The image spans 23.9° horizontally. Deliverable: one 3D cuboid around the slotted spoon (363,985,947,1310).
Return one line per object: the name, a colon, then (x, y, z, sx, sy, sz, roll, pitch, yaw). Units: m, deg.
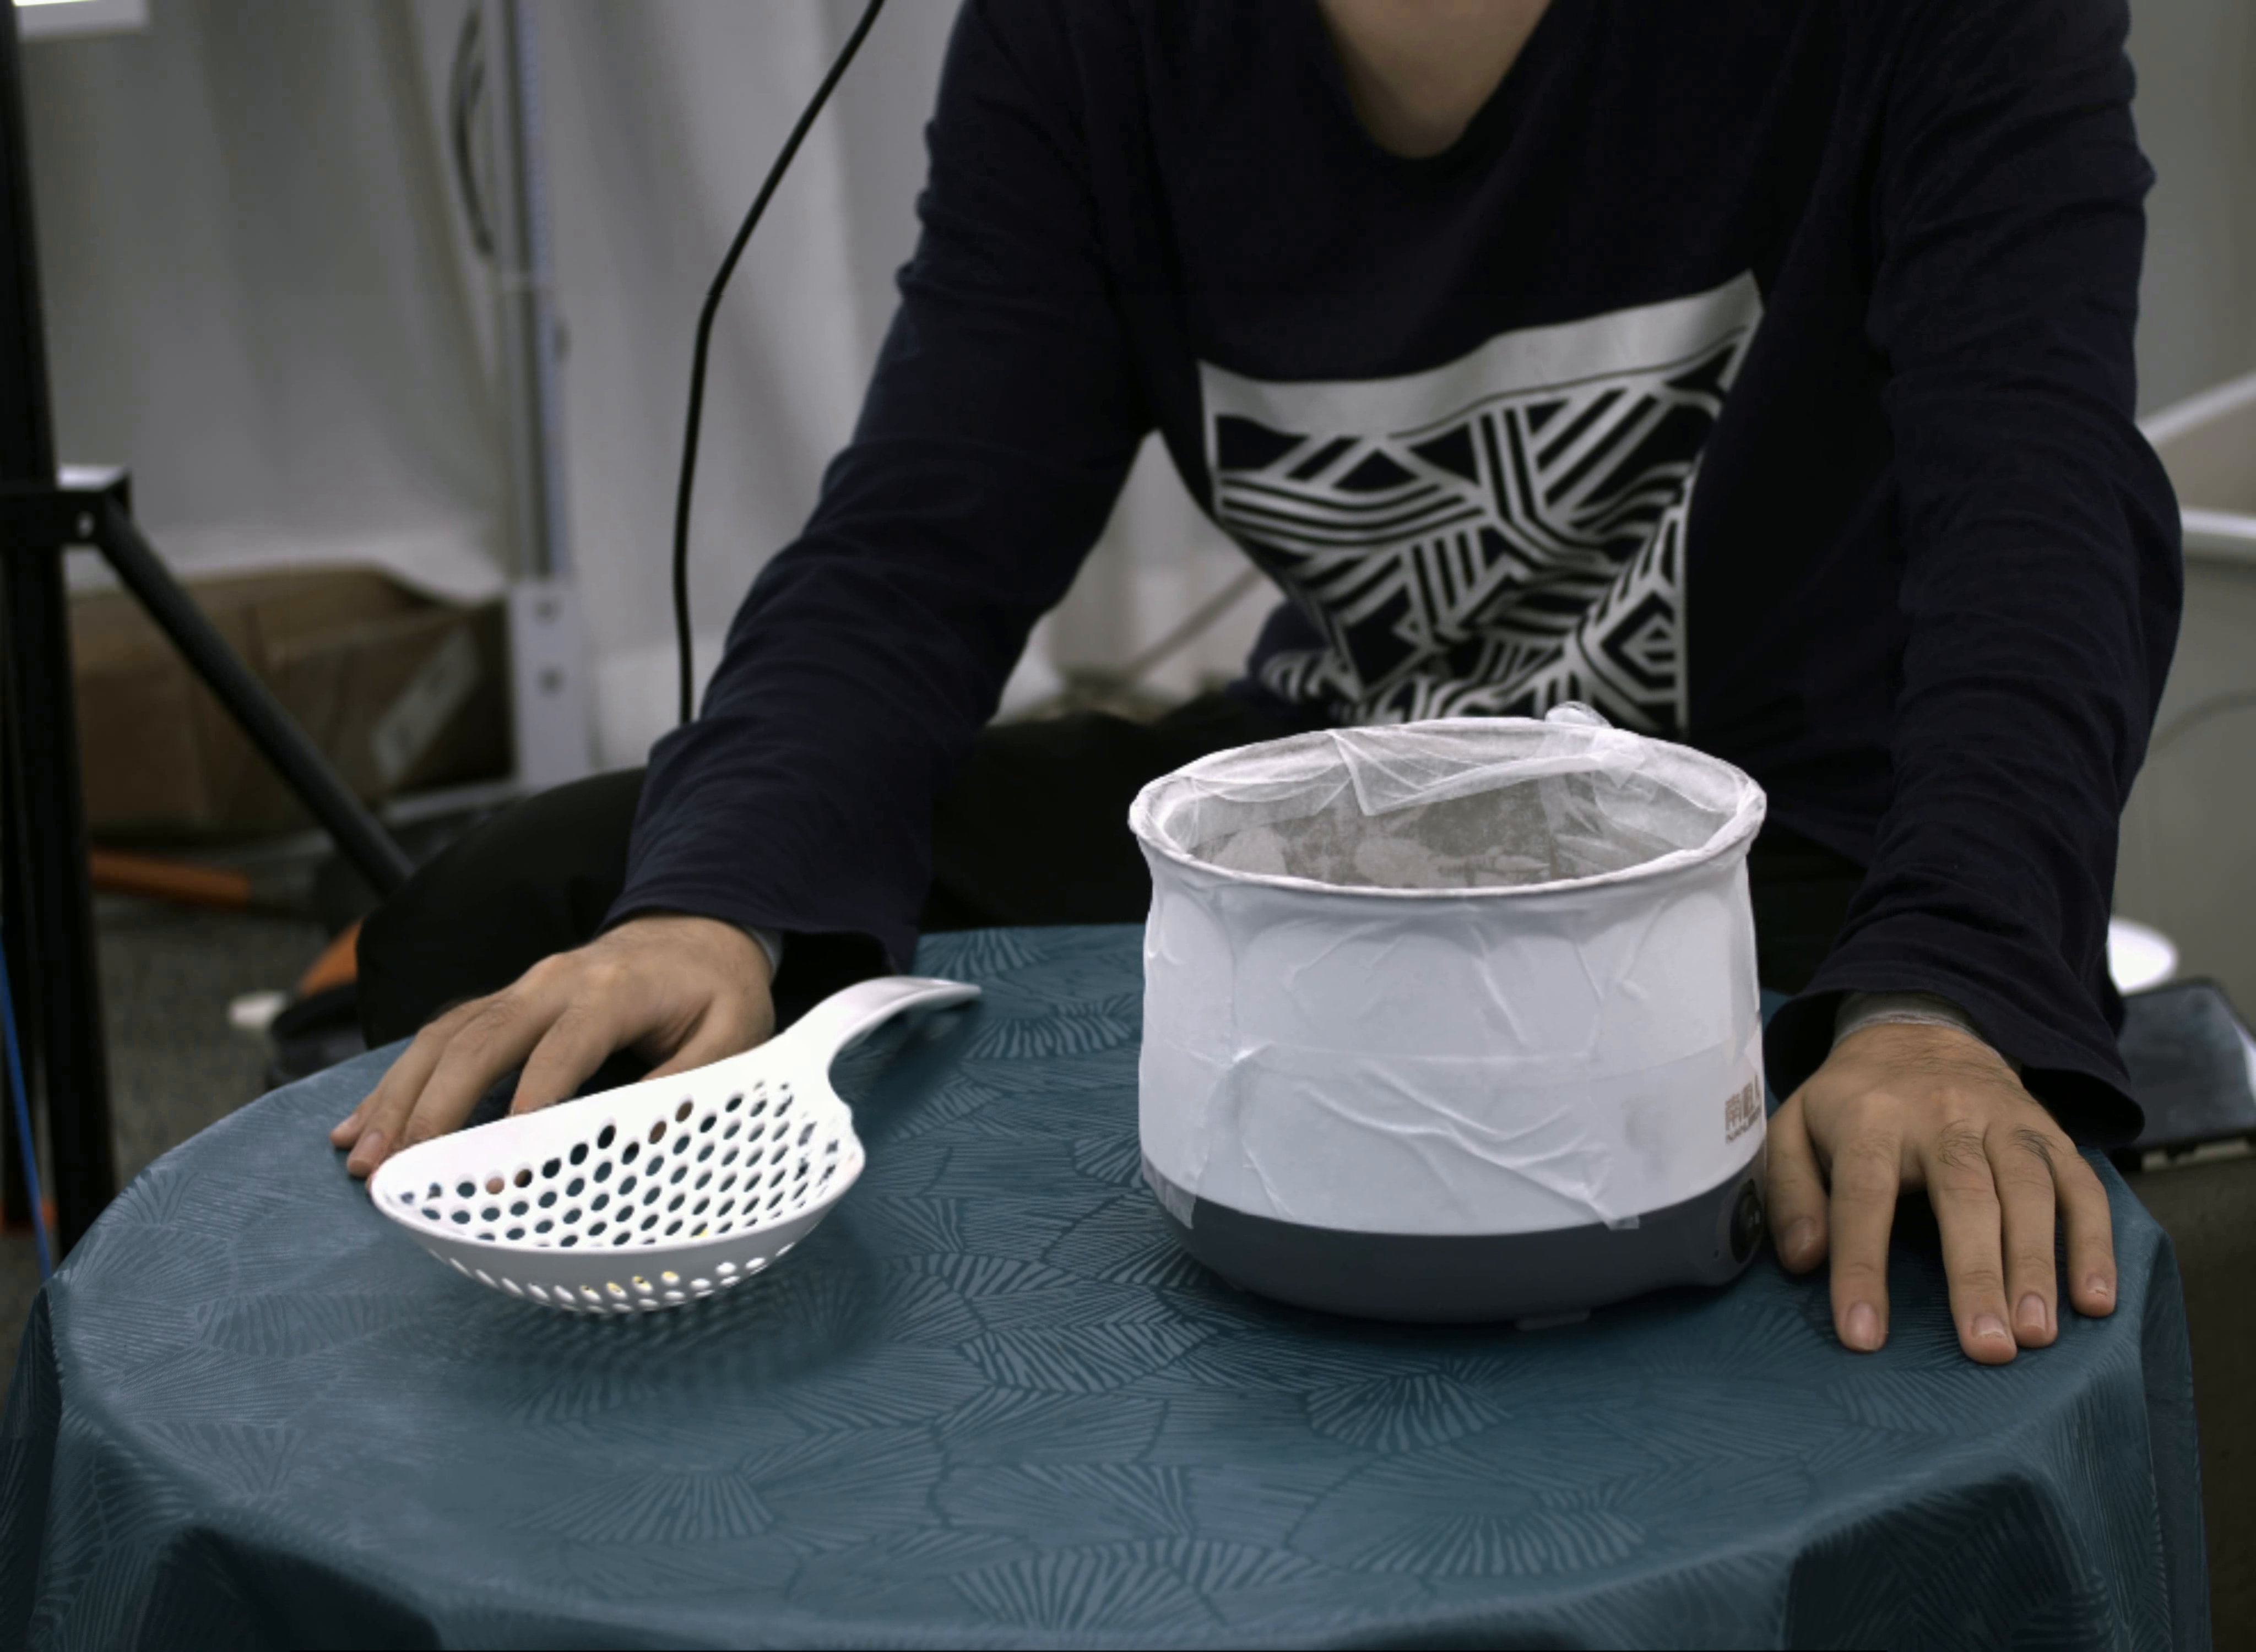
slotted spoon: (-0.109, 0.082, 1.590, 0.138, 0.050, 0.344, 2, 17, 18)

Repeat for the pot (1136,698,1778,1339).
pot: (0.101, 0.047, 1.510, 0.181, 0.136, 0.230, 7, 18, 23)
